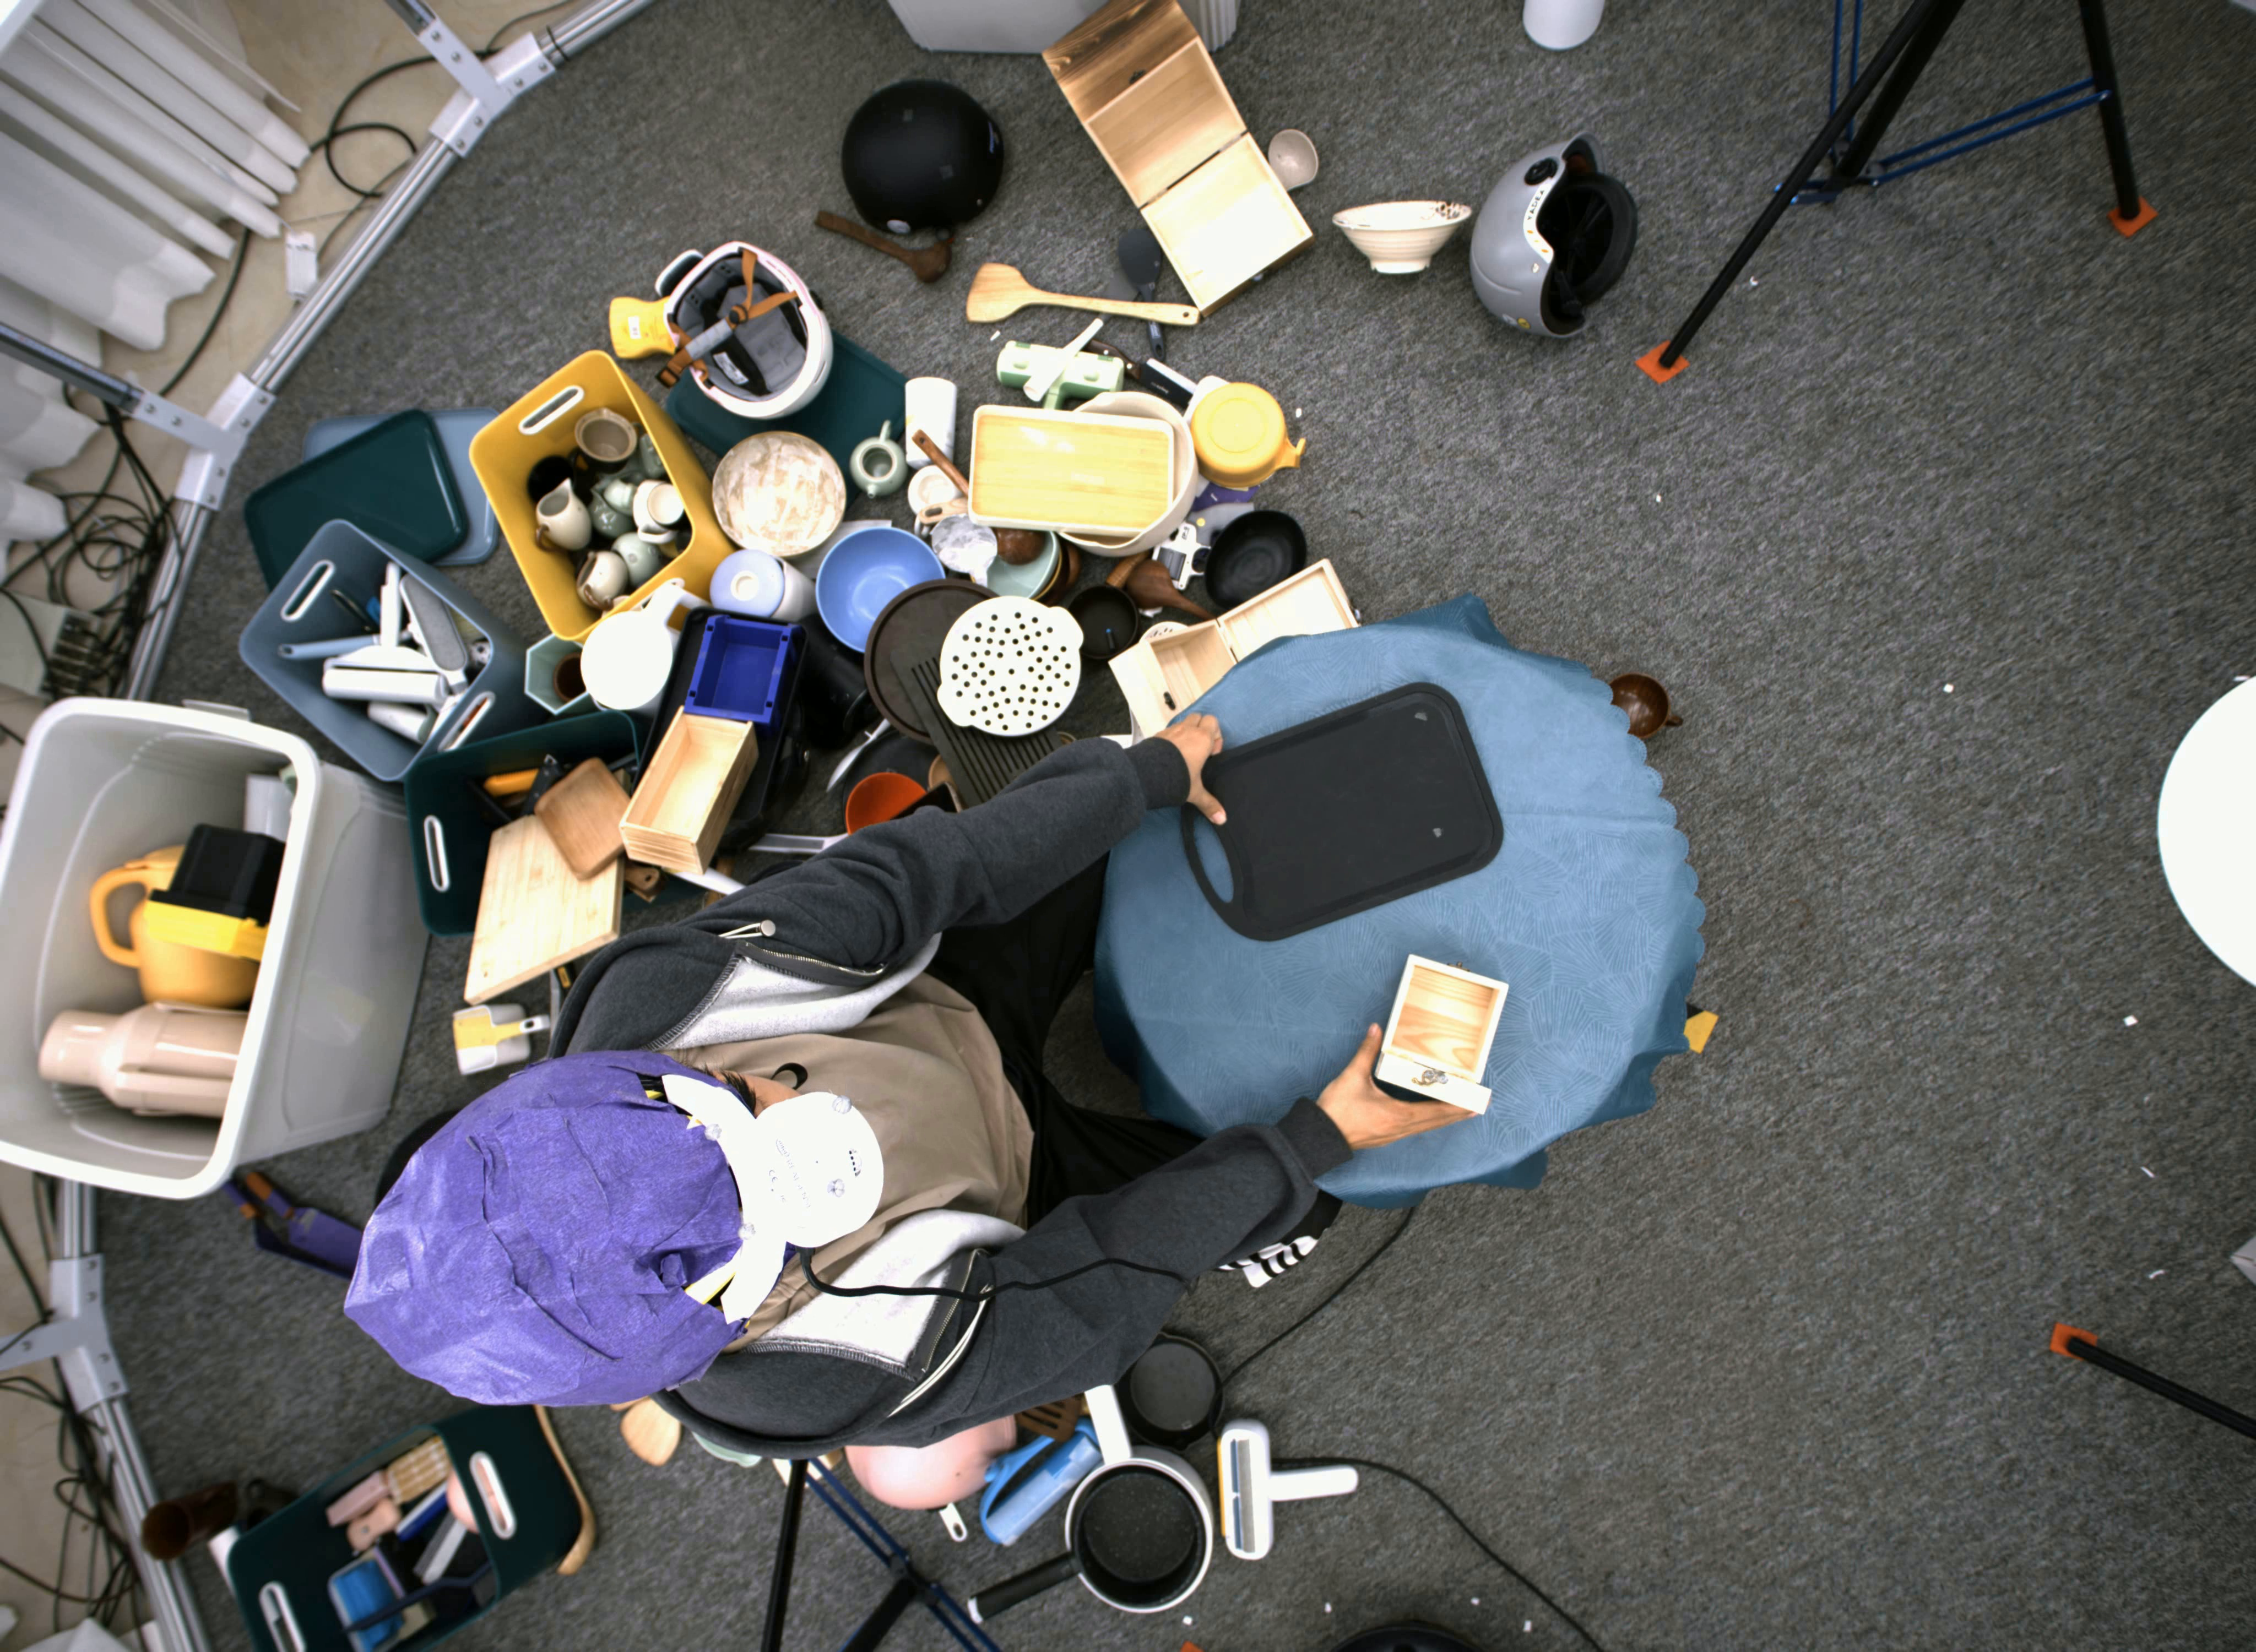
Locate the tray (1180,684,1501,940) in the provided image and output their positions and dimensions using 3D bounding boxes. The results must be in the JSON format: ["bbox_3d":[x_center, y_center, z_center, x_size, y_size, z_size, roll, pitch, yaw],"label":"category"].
[{"bbox_3d":[0.218,-0.011,1.458,0.327,0.010,0.211,-19,91,9],"label":"tray"}]

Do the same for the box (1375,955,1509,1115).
[{"bbox_3d":[0.309,0.196,1.352,0.102,0.184,0.134,16,89,10],"label":"box"}]
